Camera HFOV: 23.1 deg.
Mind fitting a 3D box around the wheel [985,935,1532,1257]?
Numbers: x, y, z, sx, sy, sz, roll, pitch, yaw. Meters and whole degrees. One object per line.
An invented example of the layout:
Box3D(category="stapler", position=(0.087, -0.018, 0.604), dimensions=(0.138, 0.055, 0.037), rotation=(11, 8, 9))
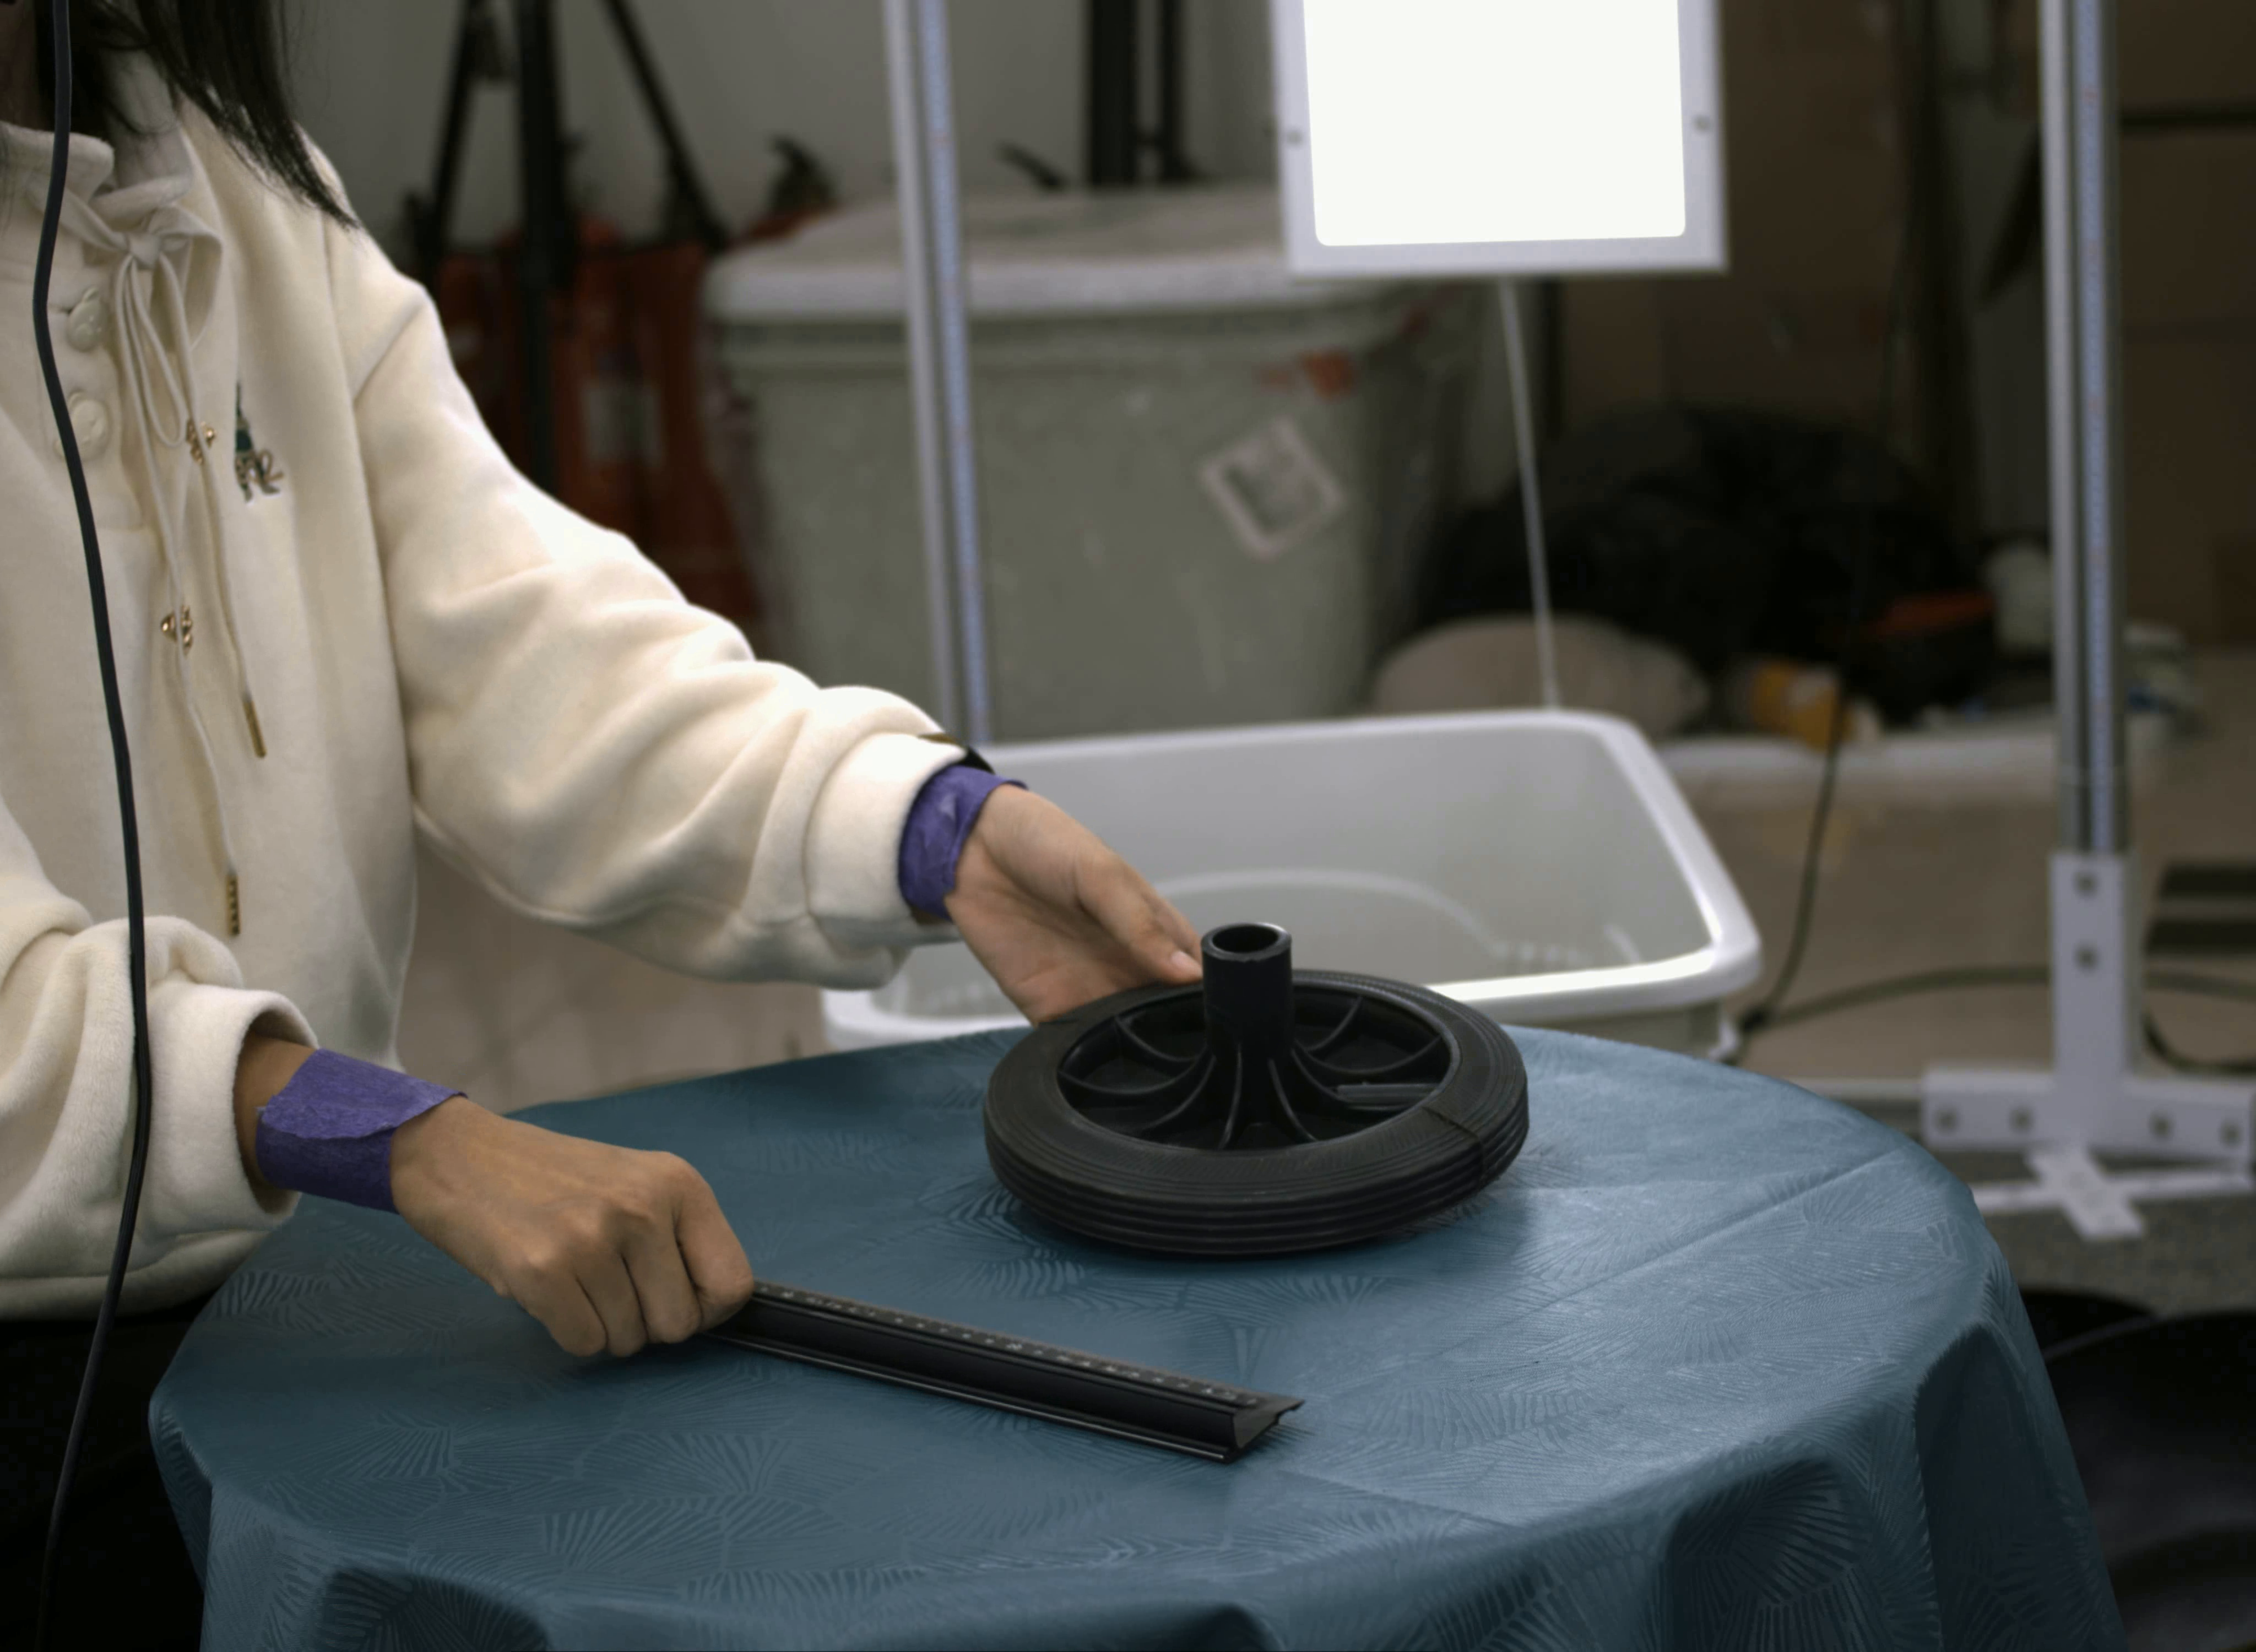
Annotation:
Box3D(category="wheel", position=(0.044, 0.079, 1.886), dimensions=(0.187, 0.079, 0.189), rotation=(-10, 23, -13))

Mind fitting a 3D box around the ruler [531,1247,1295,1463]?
Box3D(category="ruler", position=(-0.074, 0.159, 1.745), dimensions=(0.319, 0.017, 0.038), rotation=(8, 25, 43))
